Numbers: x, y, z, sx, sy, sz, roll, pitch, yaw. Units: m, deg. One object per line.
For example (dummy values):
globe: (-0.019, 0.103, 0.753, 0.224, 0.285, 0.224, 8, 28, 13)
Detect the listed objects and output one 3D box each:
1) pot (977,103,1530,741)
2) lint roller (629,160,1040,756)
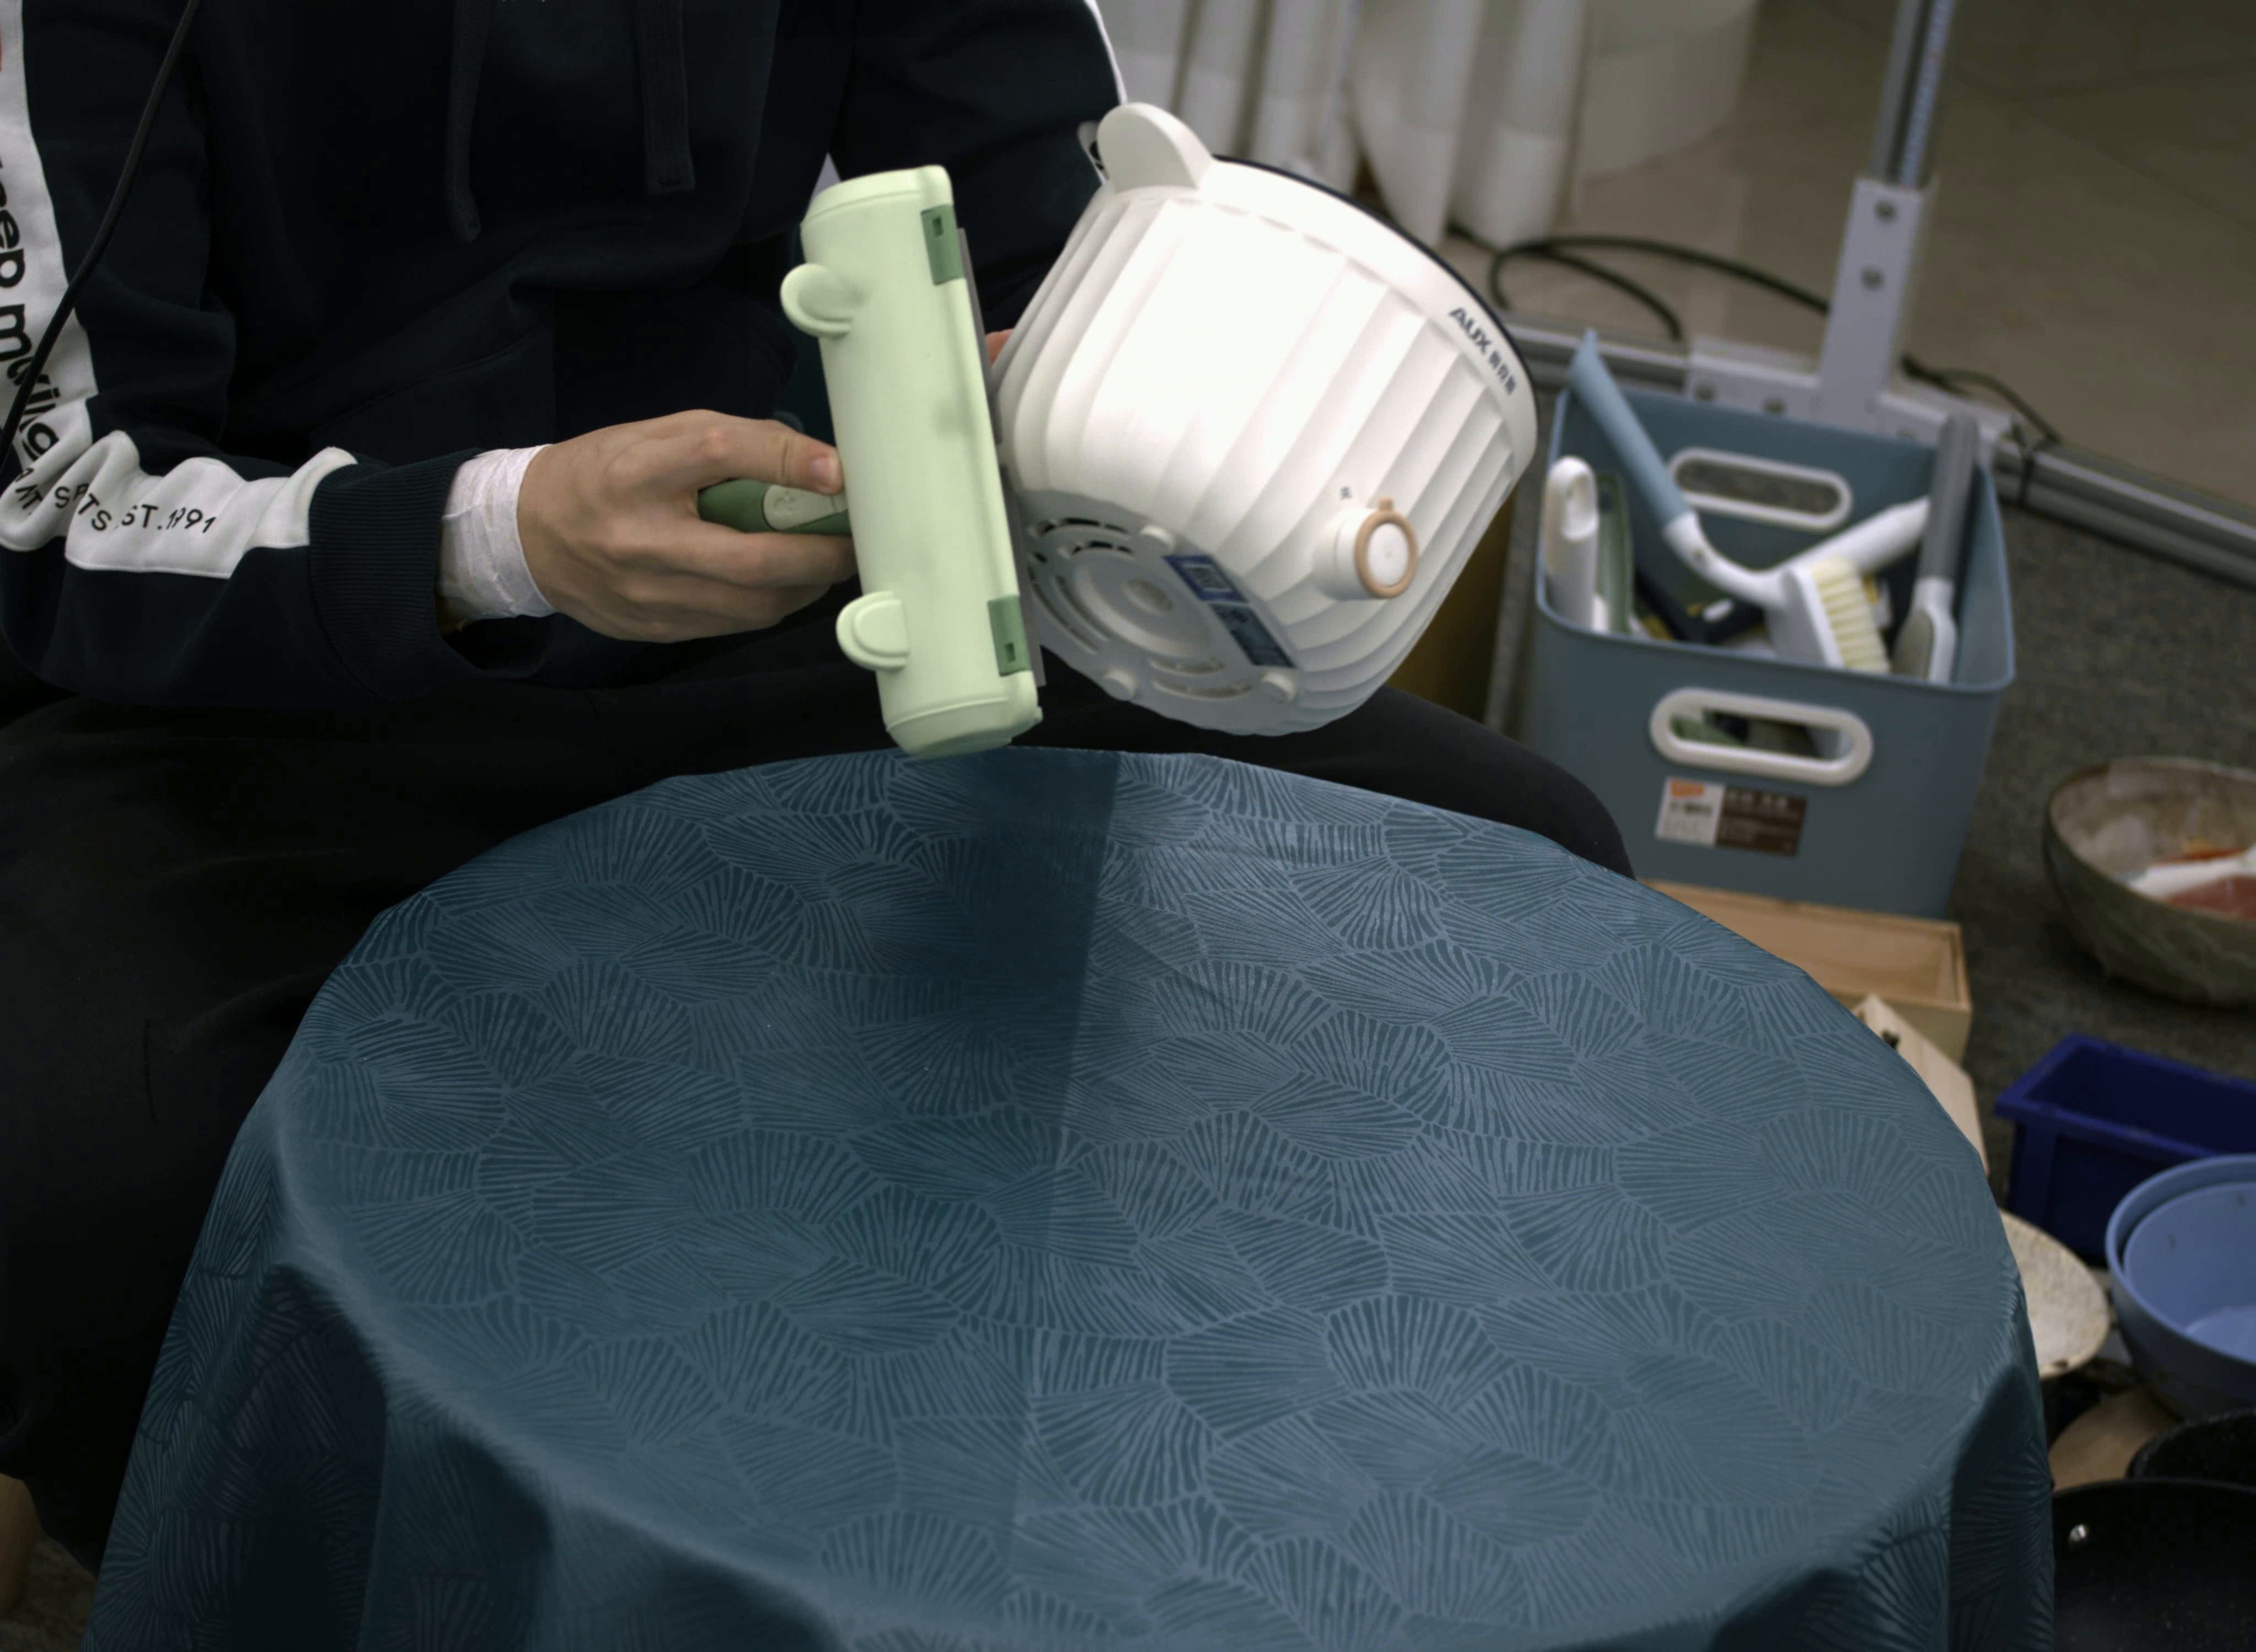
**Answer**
pot: (0.036, -0.122, 1.861, 0.191, 0.238, 0.143, -1, 51, 43)
lint roller: (-0.119, -0.112, 1.826, 0.184, 0.199, 0.081, -15, -10, 33)
